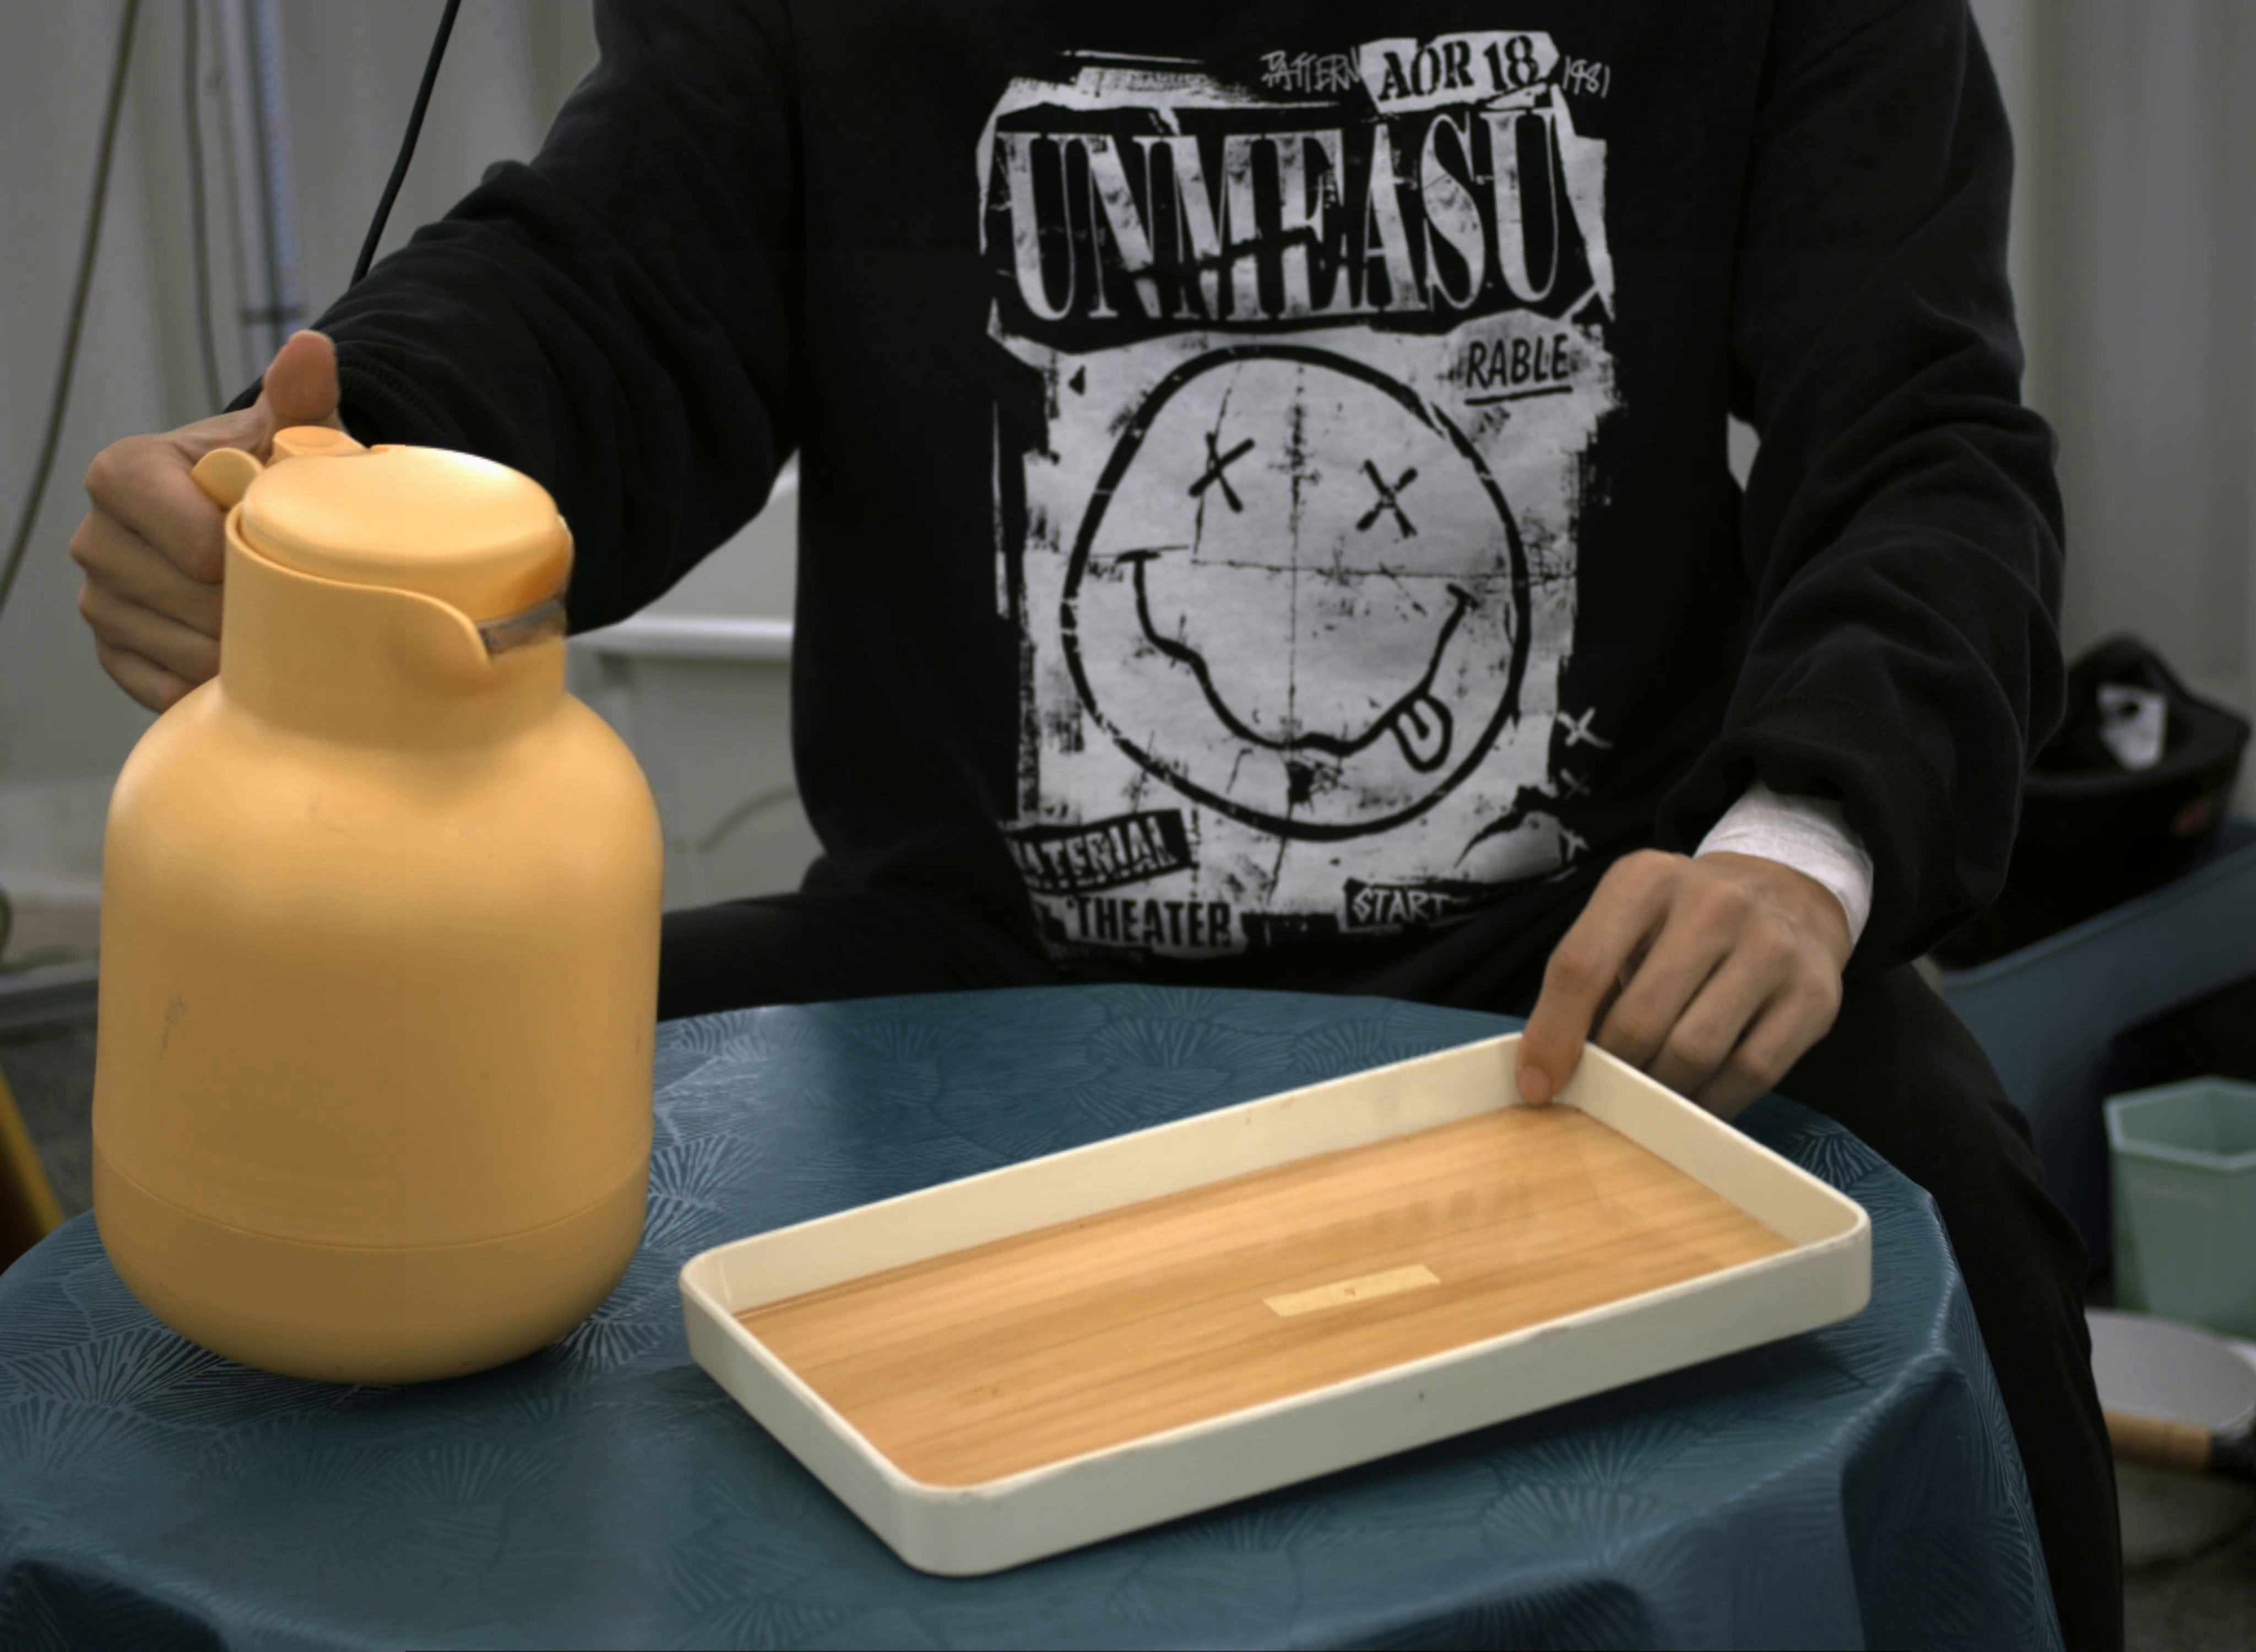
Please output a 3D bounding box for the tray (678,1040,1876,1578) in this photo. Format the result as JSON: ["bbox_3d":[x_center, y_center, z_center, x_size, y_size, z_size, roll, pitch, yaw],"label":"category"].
[{"bbox_3d":[0.041,0.131,1.545,0.299,0.027,0.193,-13,21,-23],"label":"tray"}]

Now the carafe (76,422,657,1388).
[{"bbox_3d":[-0.226,0.014,1.595,0.162,0.259,0.204,-5,25,-32],"label":"carafe"}]
